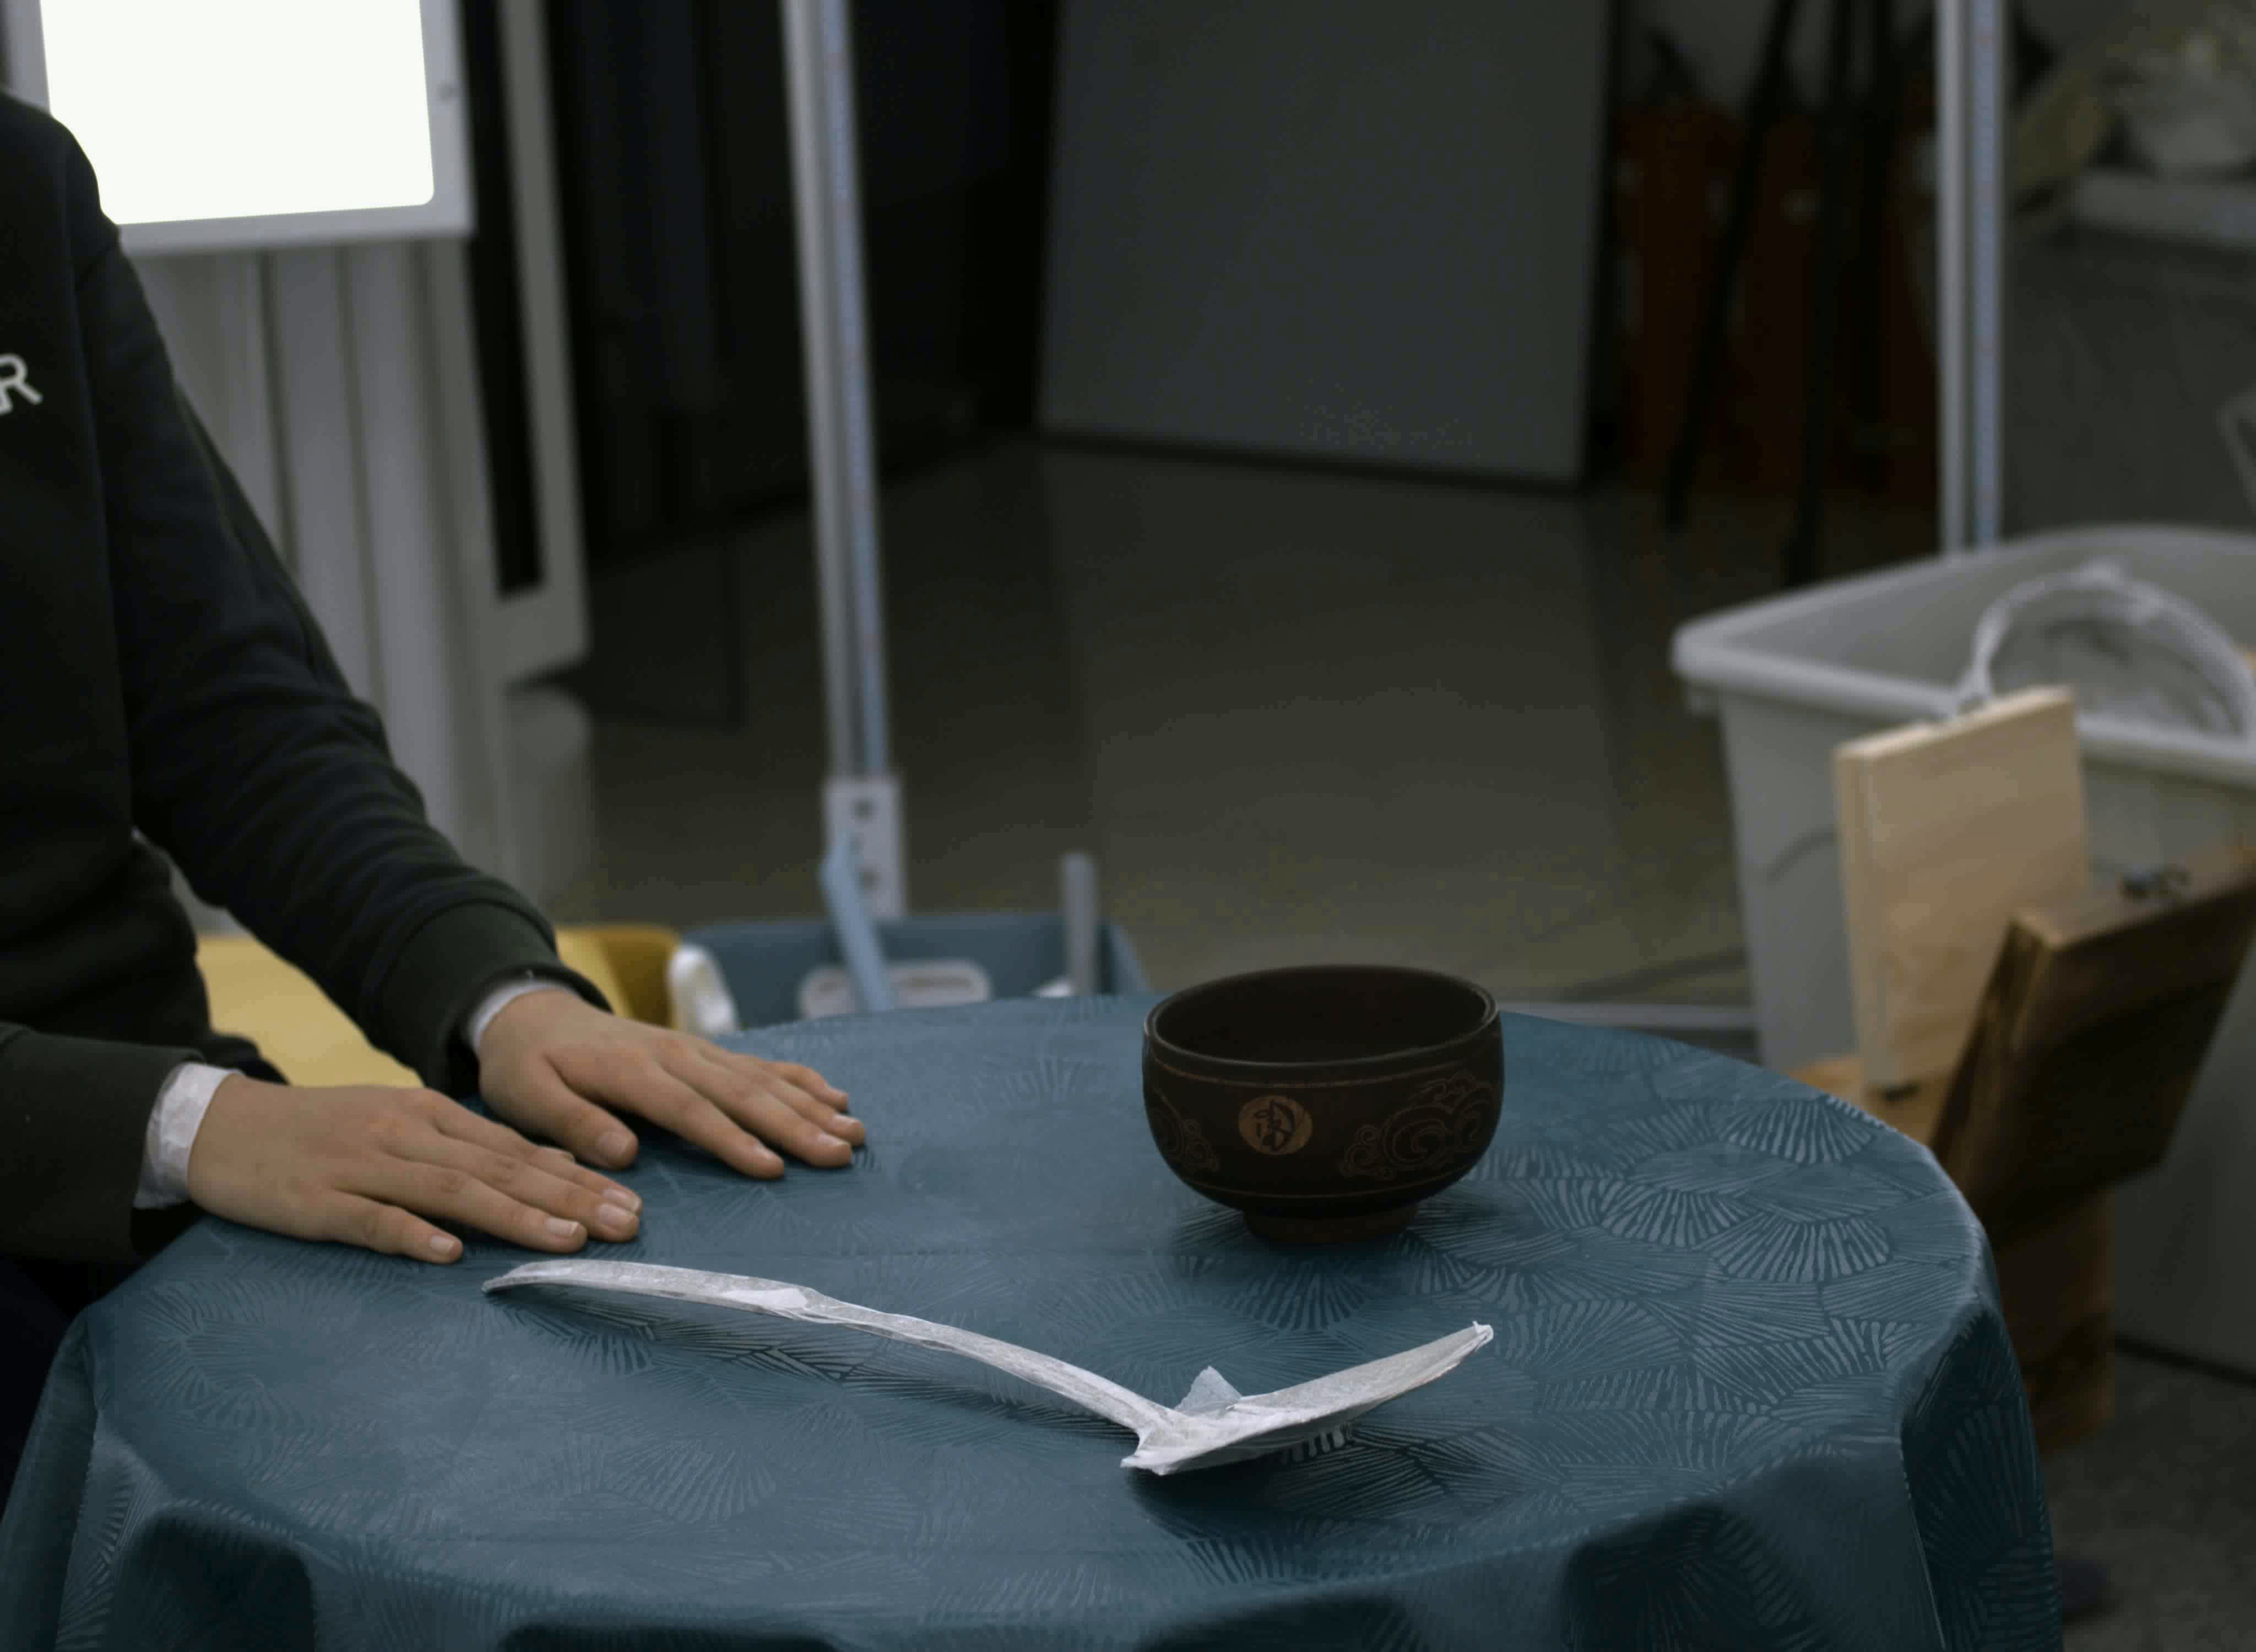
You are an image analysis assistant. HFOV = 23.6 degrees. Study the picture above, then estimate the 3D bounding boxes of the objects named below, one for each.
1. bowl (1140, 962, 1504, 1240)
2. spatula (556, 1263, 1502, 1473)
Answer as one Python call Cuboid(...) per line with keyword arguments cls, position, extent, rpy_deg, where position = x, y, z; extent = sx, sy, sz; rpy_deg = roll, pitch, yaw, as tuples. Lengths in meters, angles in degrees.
Cuboid(cls="bowl", position=(0.063, 0.091, 1.724), extent=(0.116, 0.070, 0.118), rpy_deg=(-3, 12, 0))
Cuboid(cls="spatula", position=(-0.050, 0.148, 1.596), extent=(0.368, 0.045, 0.097), rpy_deg=(8, 20, 41))
